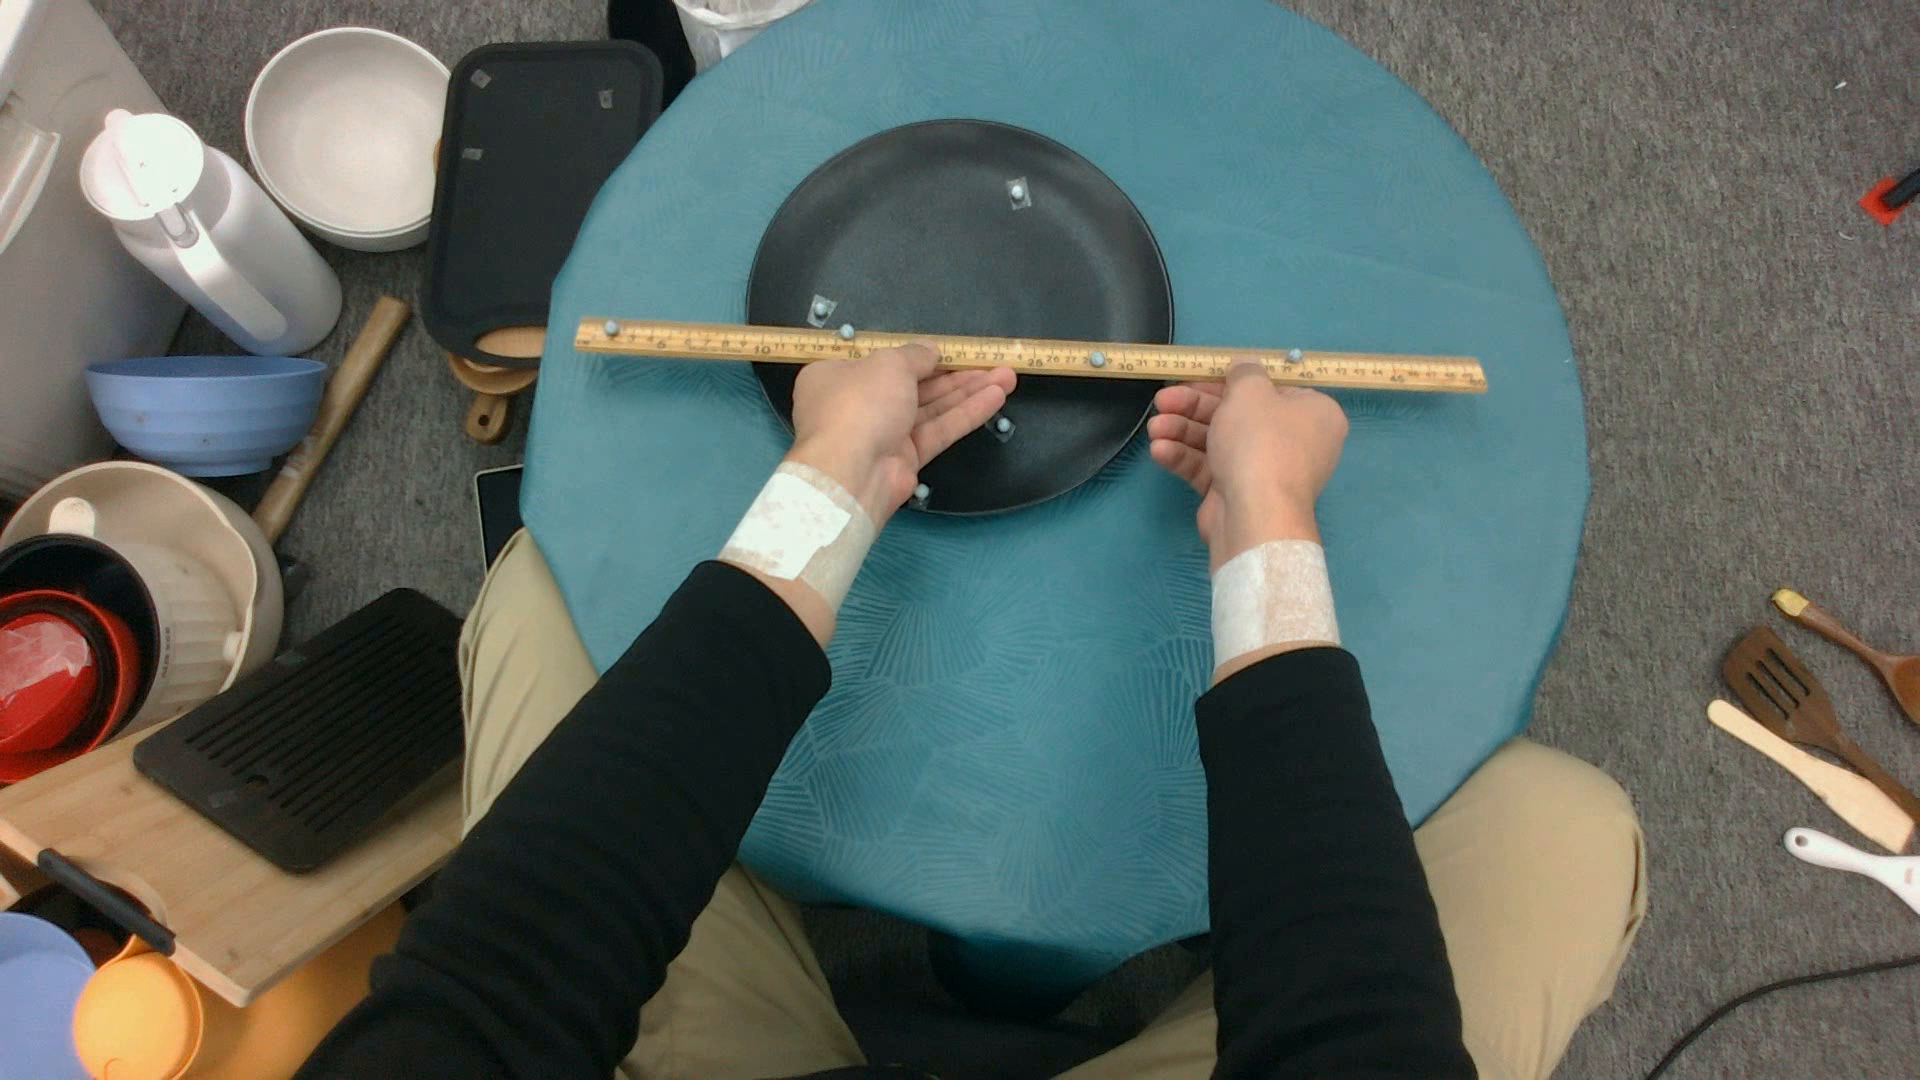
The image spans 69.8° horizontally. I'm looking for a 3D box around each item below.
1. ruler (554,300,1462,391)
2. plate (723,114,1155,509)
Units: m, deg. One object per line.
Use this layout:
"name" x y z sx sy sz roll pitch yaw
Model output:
"ruler" 0.030 -0.107 0.758 0.500 0.006 0.027 3 51 -3
"plate" -0.012 -0.132 0.786 0.244 0.023 0.245 1 74 -3
